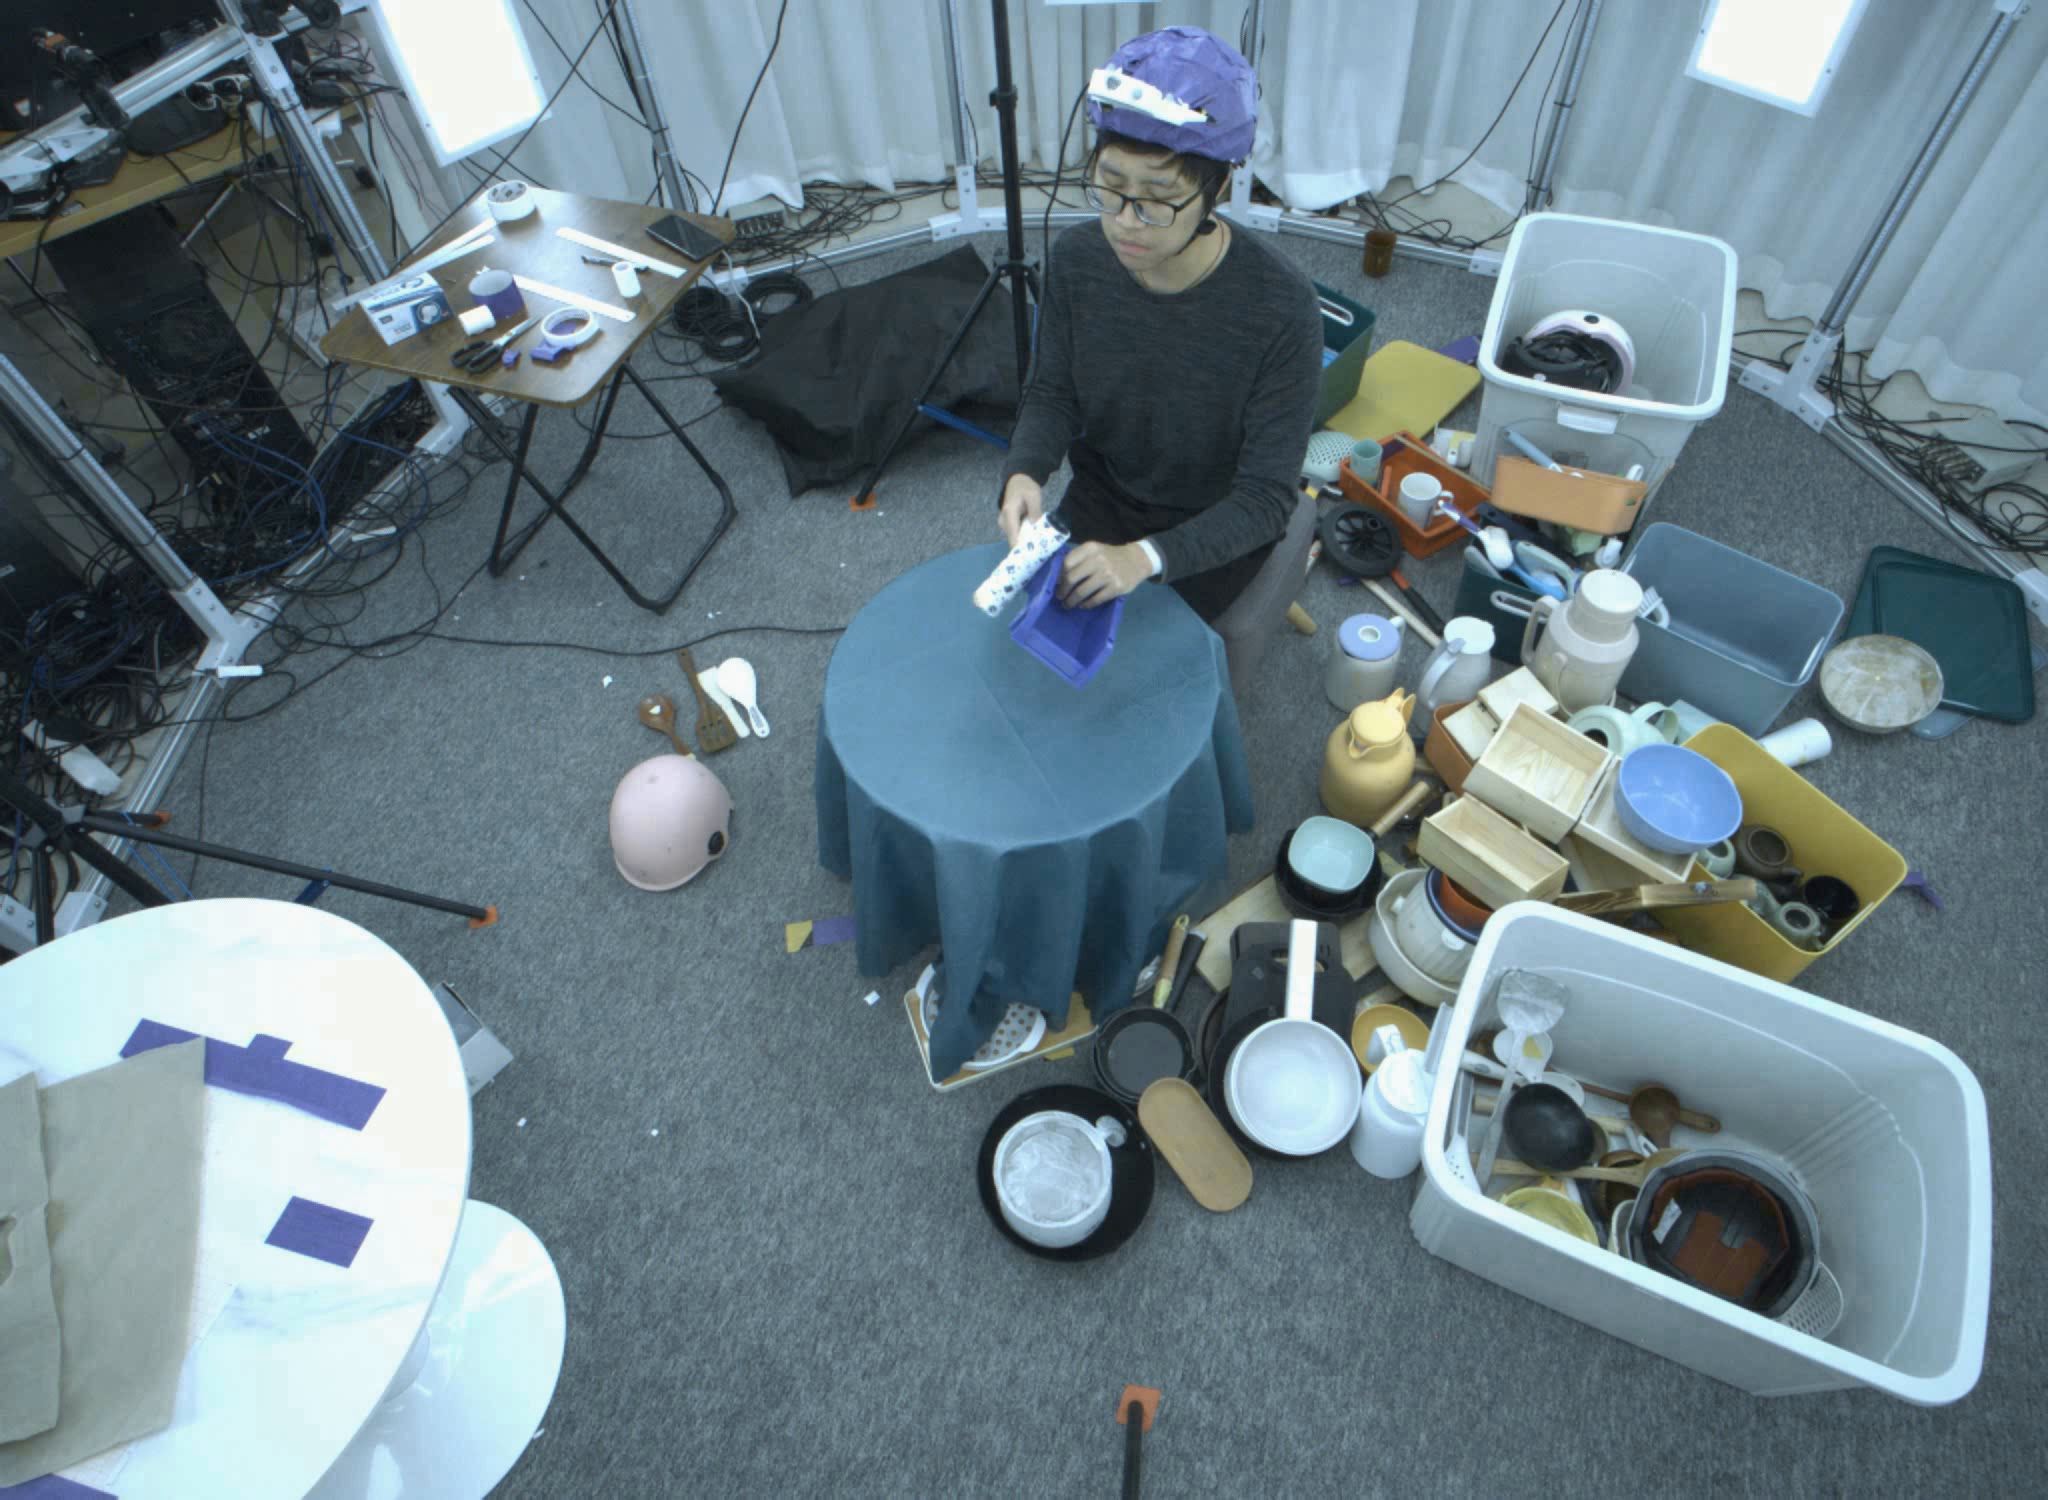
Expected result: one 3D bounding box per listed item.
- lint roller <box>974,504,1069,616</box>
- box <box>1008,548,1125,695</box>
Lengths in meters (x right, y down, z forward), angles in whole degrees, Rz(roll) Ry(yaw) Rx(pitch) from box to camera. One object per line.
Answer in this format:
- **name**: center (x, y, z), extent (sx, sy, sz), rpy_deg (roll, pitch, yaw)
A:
- **lint roller**: center (0.000, -0.308, 1.779), extent (0.051, 0.175, 0.245), rpy_deg (35, 28, -18)
- **box**: center (0.058, -0.170, 1.659), extent (0.126, 0.081, 0.178), rpy_deg (37, 34, -17)
